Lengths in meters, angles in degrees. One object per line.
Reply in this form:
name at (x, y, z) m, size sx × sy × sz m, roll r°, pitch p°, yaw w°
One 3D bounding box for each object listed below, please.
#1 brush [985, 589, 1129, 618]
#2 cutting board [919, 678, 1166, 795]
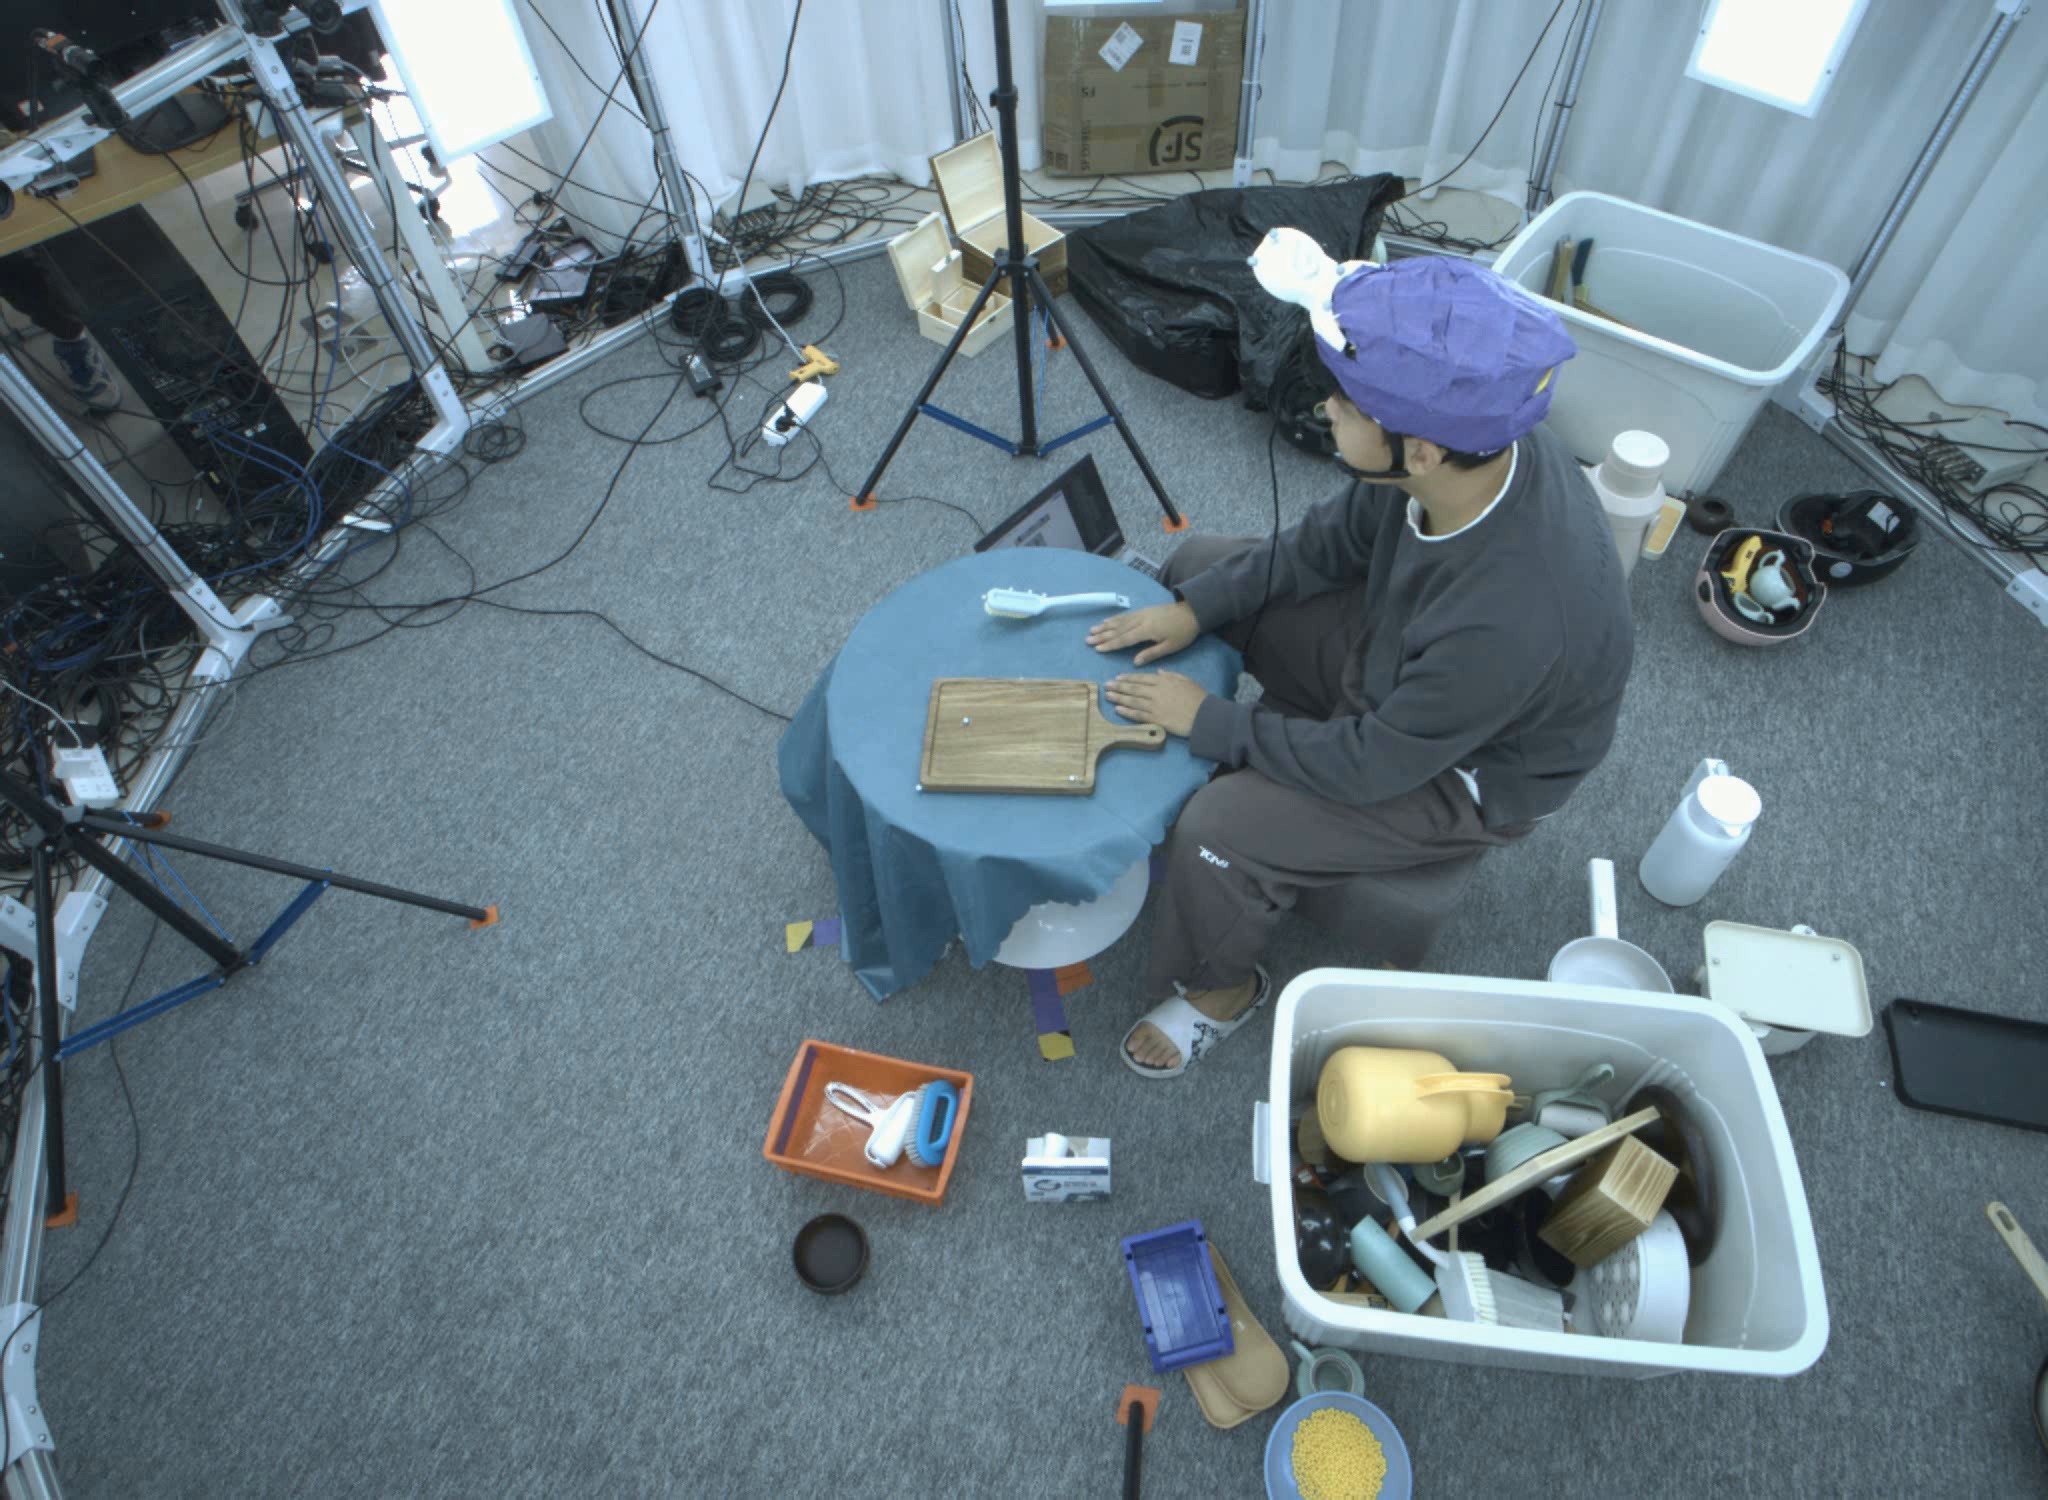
brush at (0.051, -0.231, 1.930) m, size 0.230 × 0.050 × 0.037 m, roll -3°, pitch 66°, yaw -10°
cutting board at (0.030, -0.021, 1.789) m, size 0.352 × 0.023 × 0.199 m, roll 2°, pitch 55°, yaw 2°
